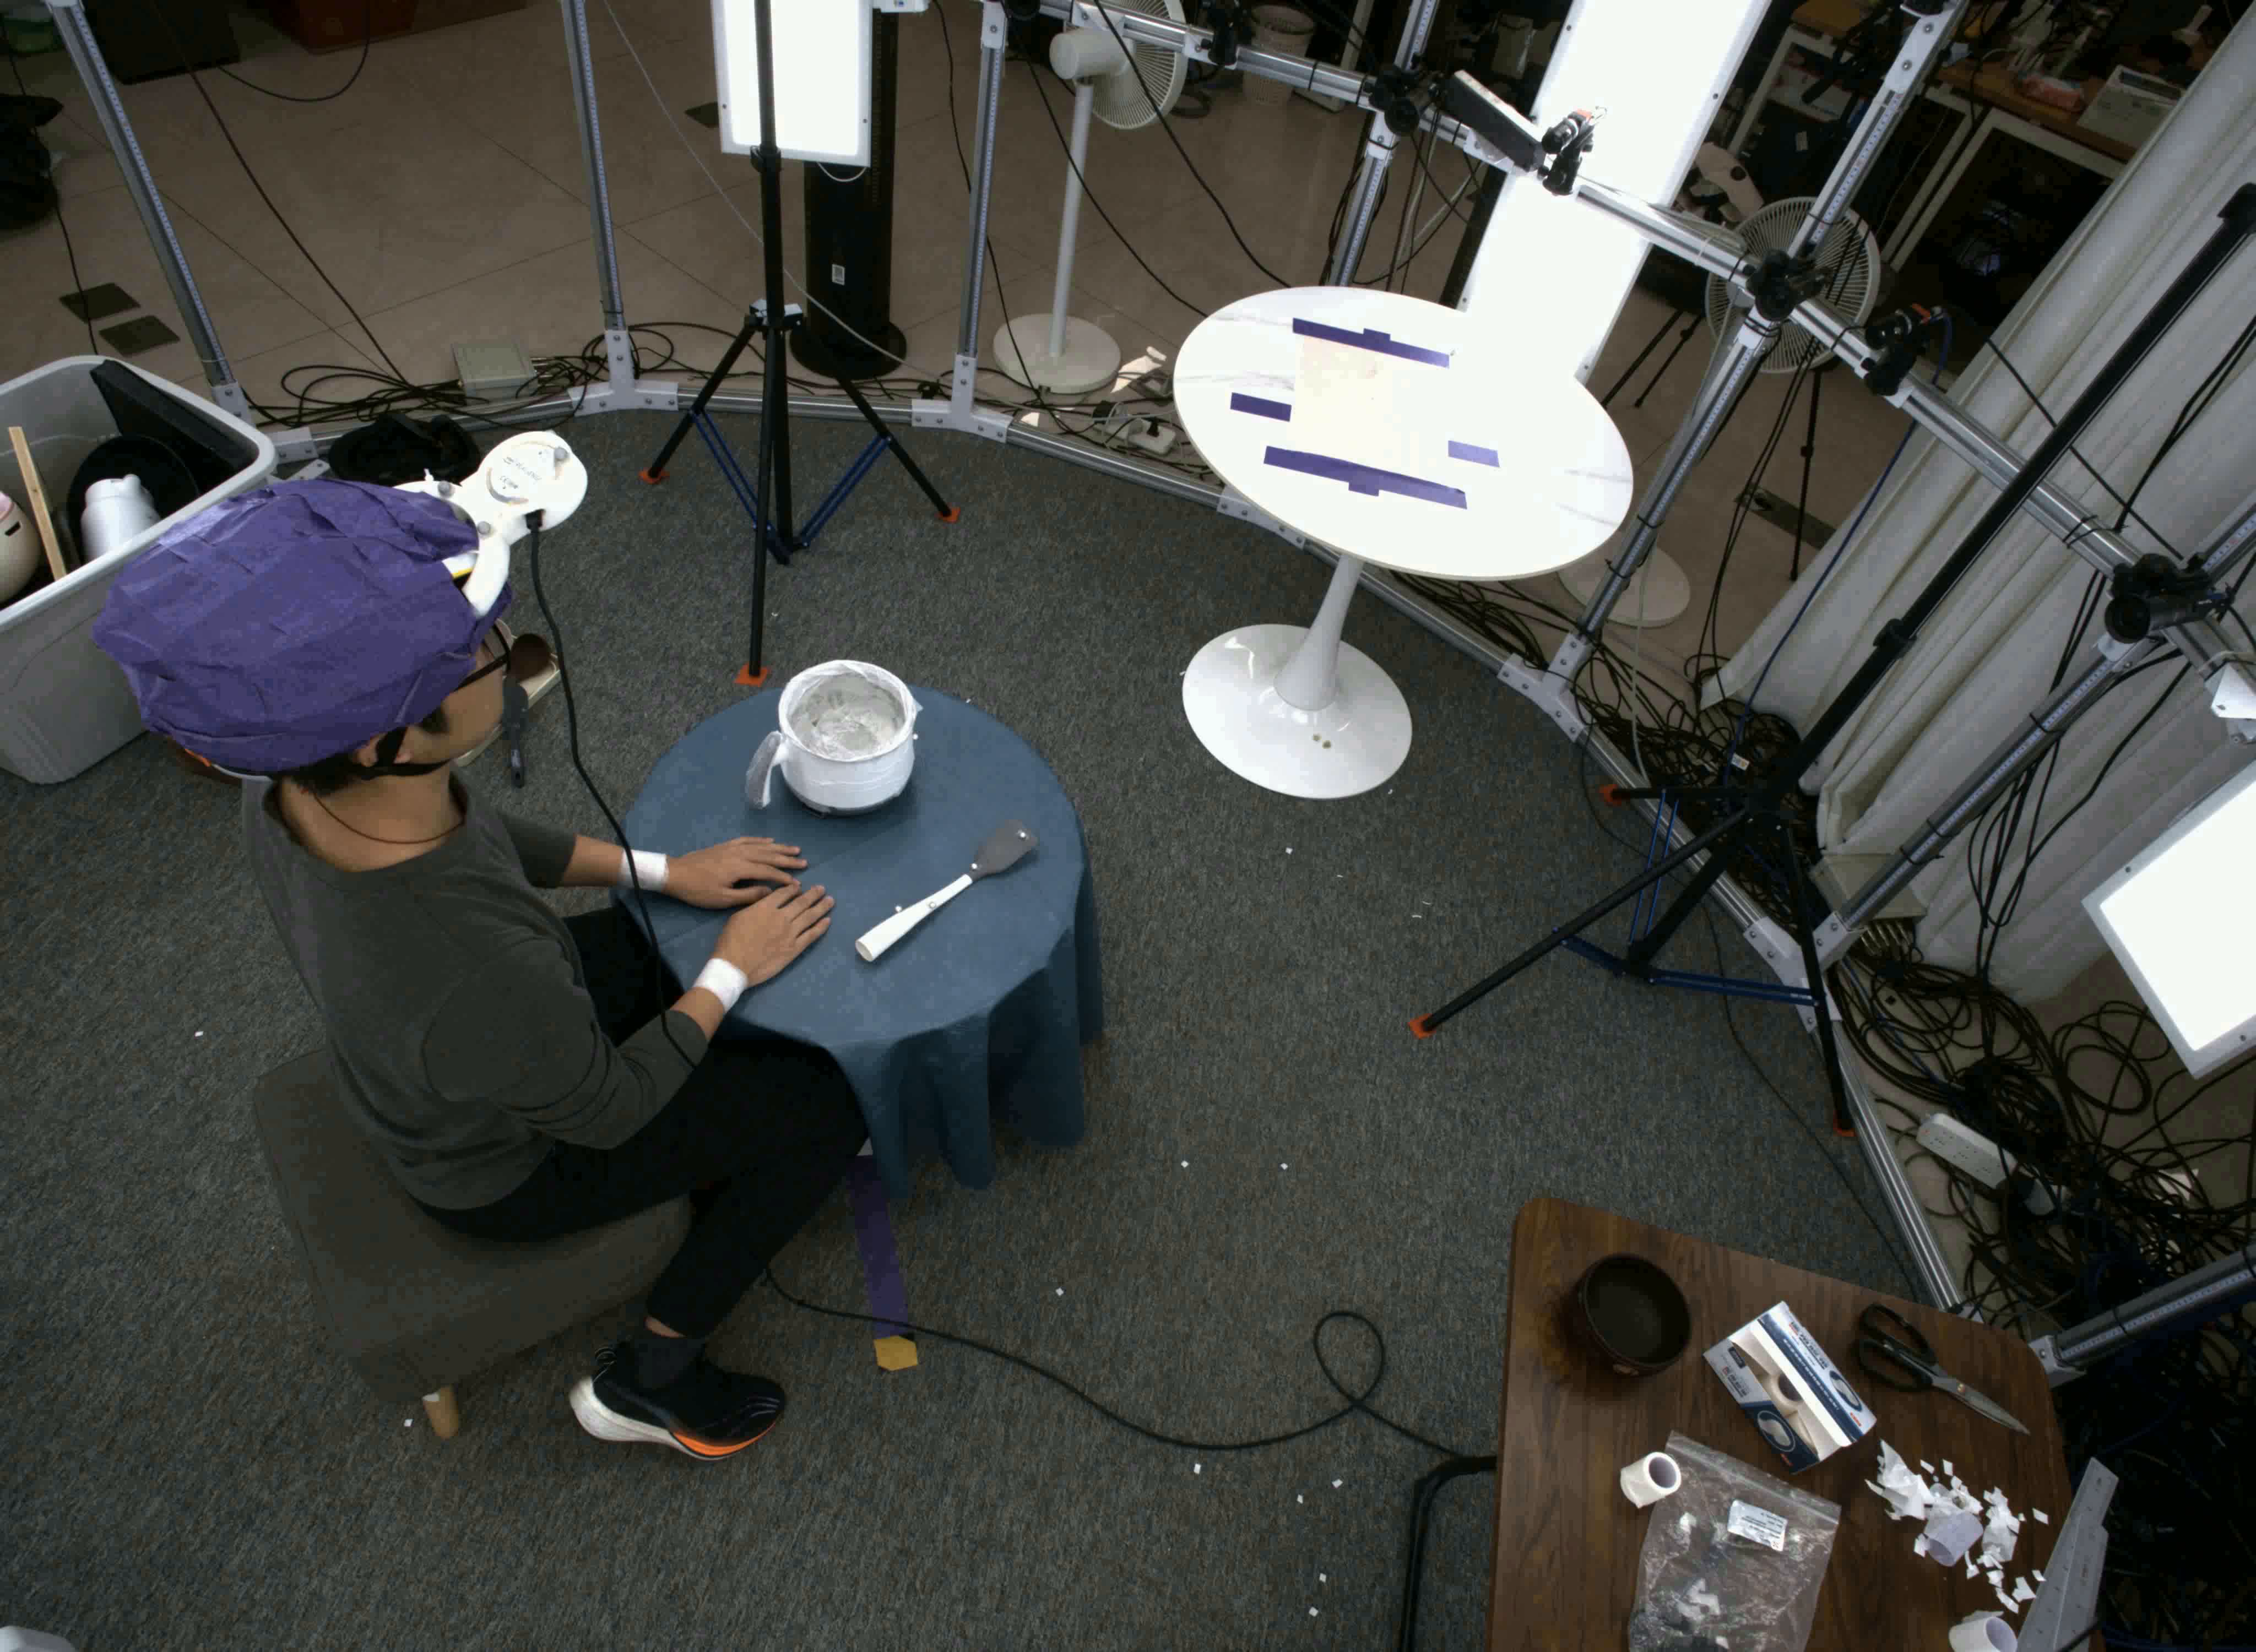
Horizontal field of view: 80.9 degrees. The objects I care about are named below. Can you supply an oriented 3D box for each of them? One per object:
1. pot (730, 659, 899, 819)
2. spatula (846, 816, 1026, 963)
[{"bbox_3d":[-0.419,-0.102,1.724,0.235,0.139,0.174,-28,63,-29],"label":"pot"},{"bbox_3d":[-0.249,0.080,1.699,0.057,0.033,0.288,38,55,20],"label":"spatula"}]
